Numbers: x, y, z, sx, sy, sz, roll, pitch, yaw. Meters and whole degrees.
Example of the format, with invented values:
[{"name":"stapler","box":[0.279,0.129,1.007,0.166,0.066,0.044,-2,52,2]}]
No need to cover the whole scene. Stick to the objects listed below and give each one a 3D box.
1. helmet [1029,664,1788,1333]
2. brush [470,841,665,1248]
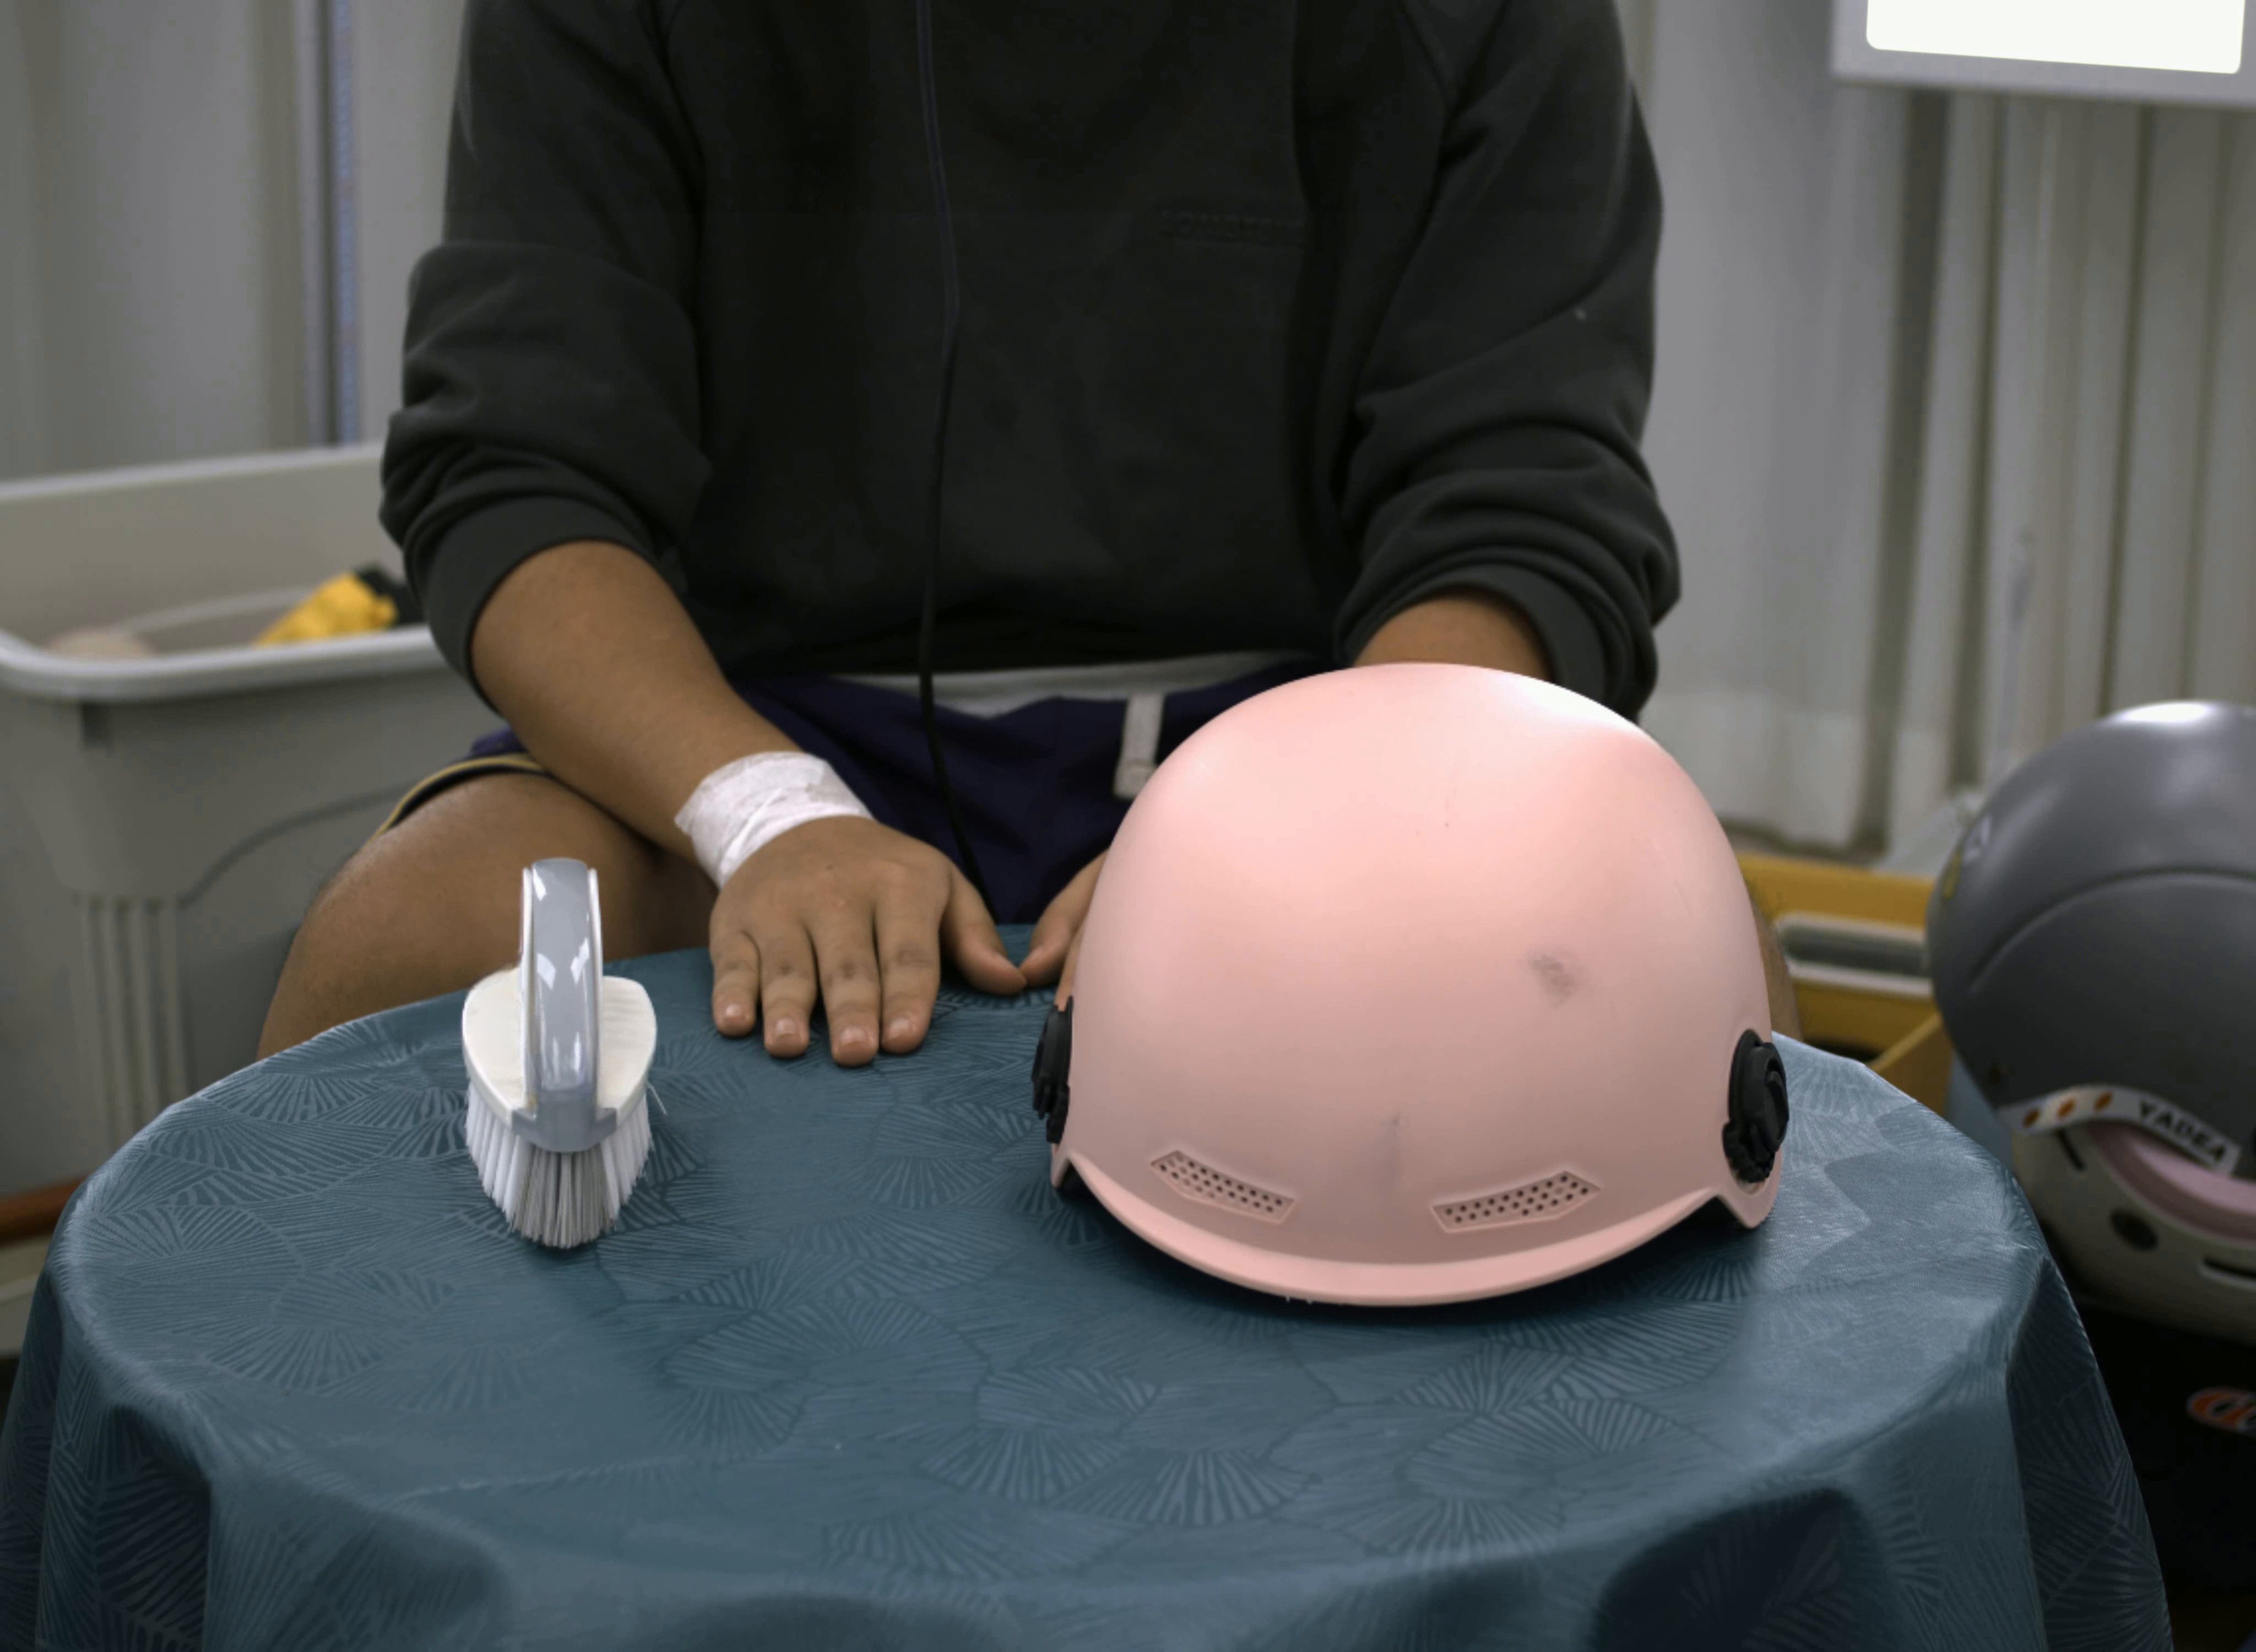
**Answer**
[{"name":"helmet","box":[0.088,0.038,1.612,0.232,0.160,0.265,3,20,8]},{"name":"brush","box":[-0.173,0.061,1.628,0.061,0.095,0.174,-2,18,-6]}]
